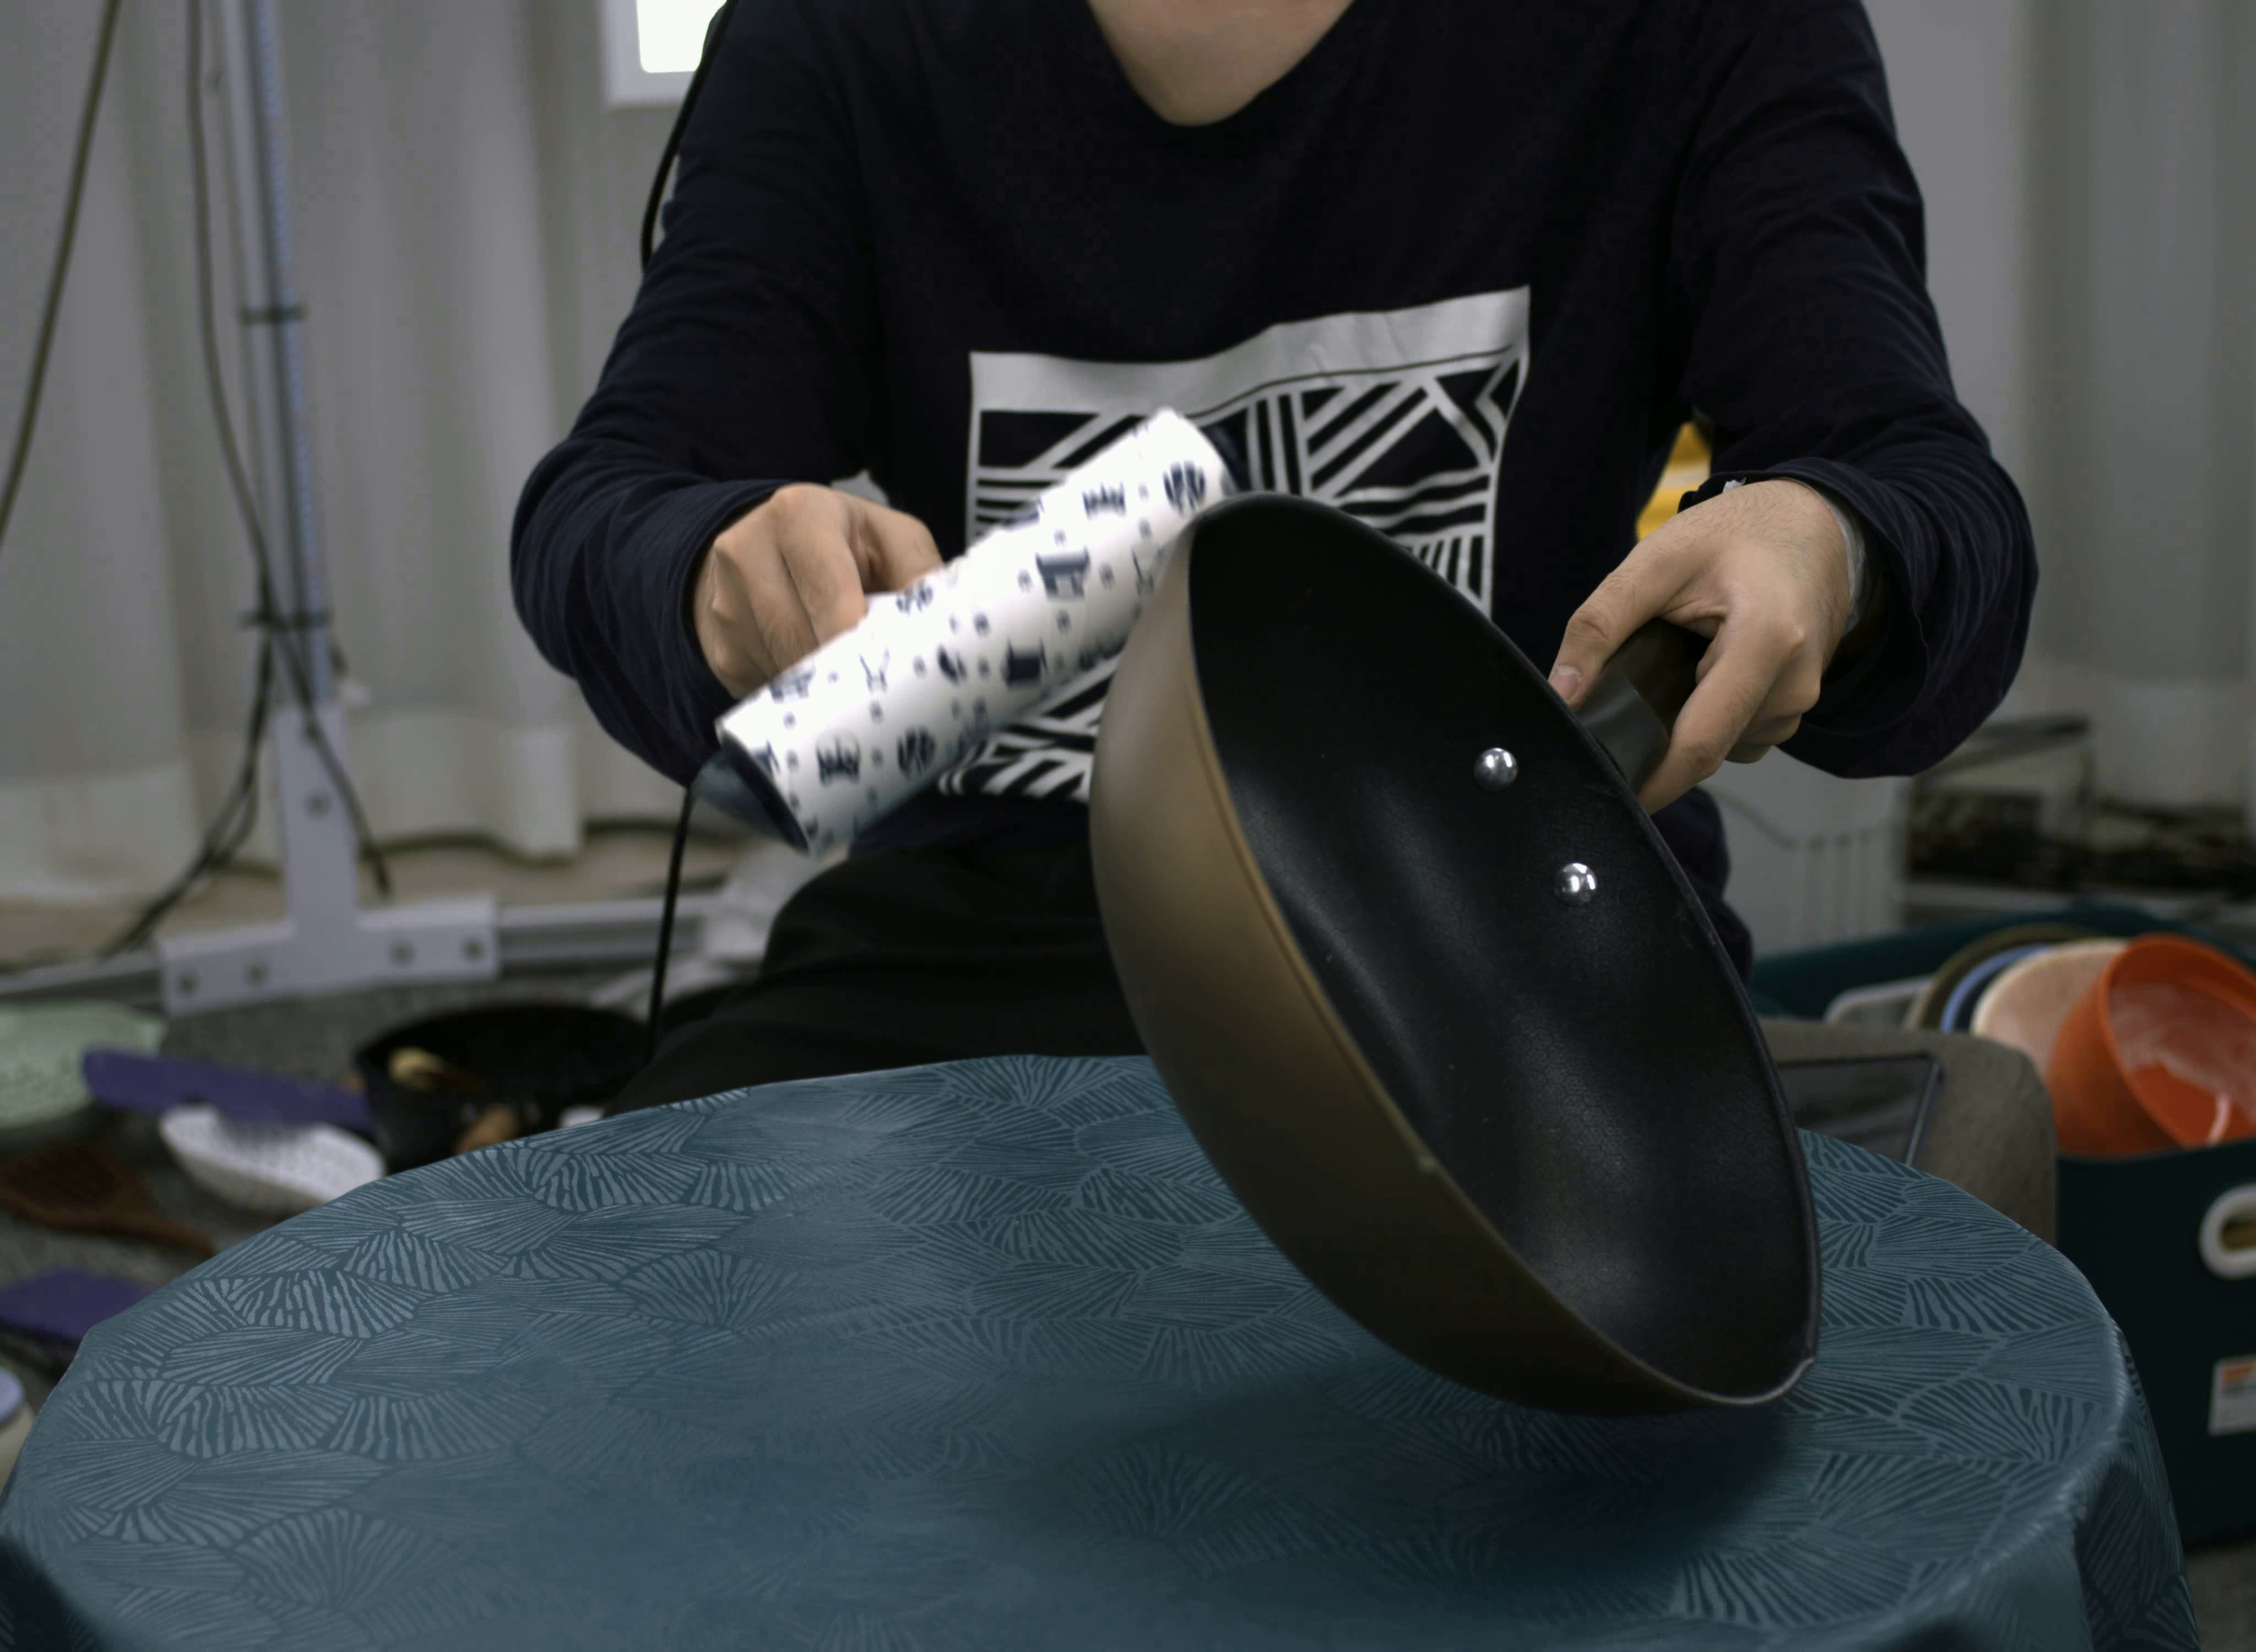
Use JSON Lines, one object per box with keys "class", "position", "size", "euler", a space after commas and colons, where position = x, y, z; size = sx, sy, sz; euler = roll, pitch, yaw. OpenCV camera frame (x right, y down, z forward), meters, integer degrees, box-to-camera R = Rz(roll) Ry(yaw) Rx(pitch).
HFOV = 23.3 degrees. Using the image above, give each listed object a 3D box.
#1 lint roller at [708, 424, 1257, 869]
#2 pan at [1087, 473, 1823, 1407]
{"class": "lint roller", "position": [-0.069, -0.053, 1.658], "size": [0.176, 0.050, 0.247], "euler": [-36, 11, -14]}
{"class": "pan", "position": [0.099, 0.016, 1.562], "size": [0.086, 0.287, 0.466], "euler": [-34, 6, 23]}
